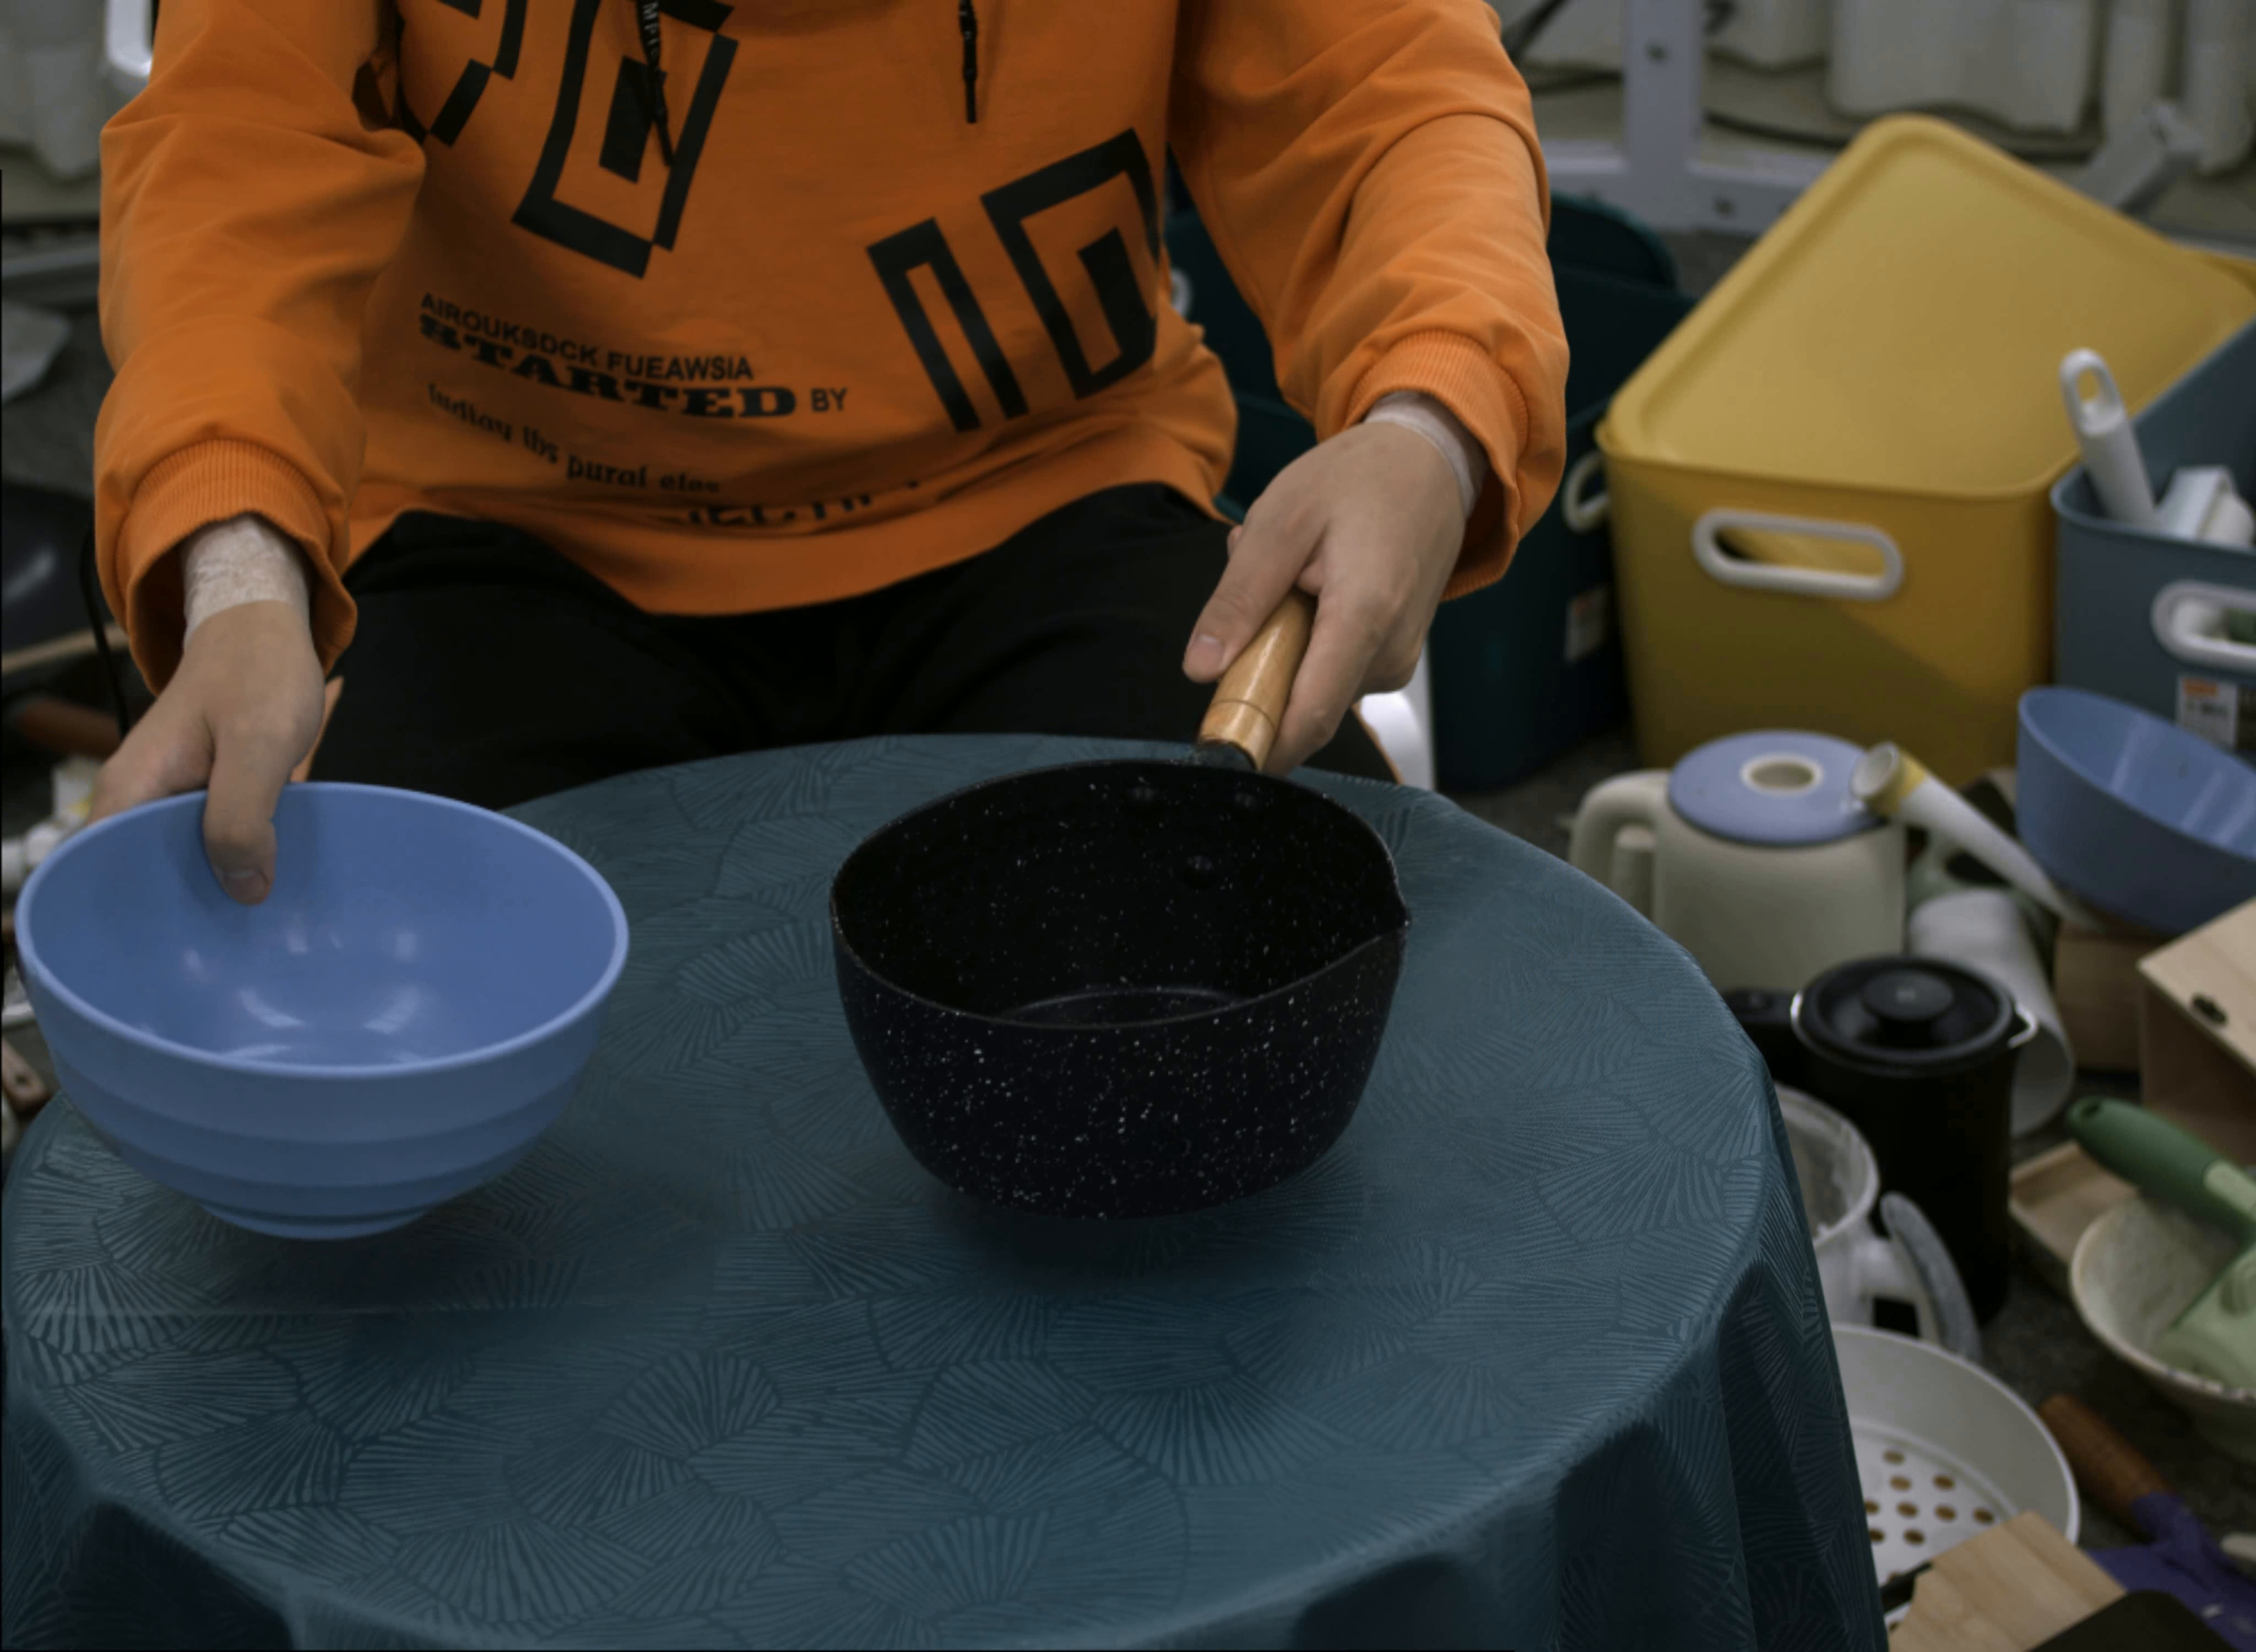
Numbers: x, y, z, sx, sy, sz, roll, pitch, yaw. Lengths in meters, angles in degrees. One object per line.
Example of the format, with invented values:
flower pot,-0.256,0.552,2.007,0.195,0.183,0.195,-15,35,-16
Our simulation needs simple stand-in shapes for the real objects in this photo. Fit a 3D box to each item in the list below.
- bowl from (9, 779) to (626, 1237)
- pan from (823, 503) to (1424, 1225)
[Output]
bowl,-0.263,0.070,1.823,0.195,0.094,0.199,5,26,-2
pan,0.020,0.009,1.902,0.206,0.107,0.349,4,29,17
